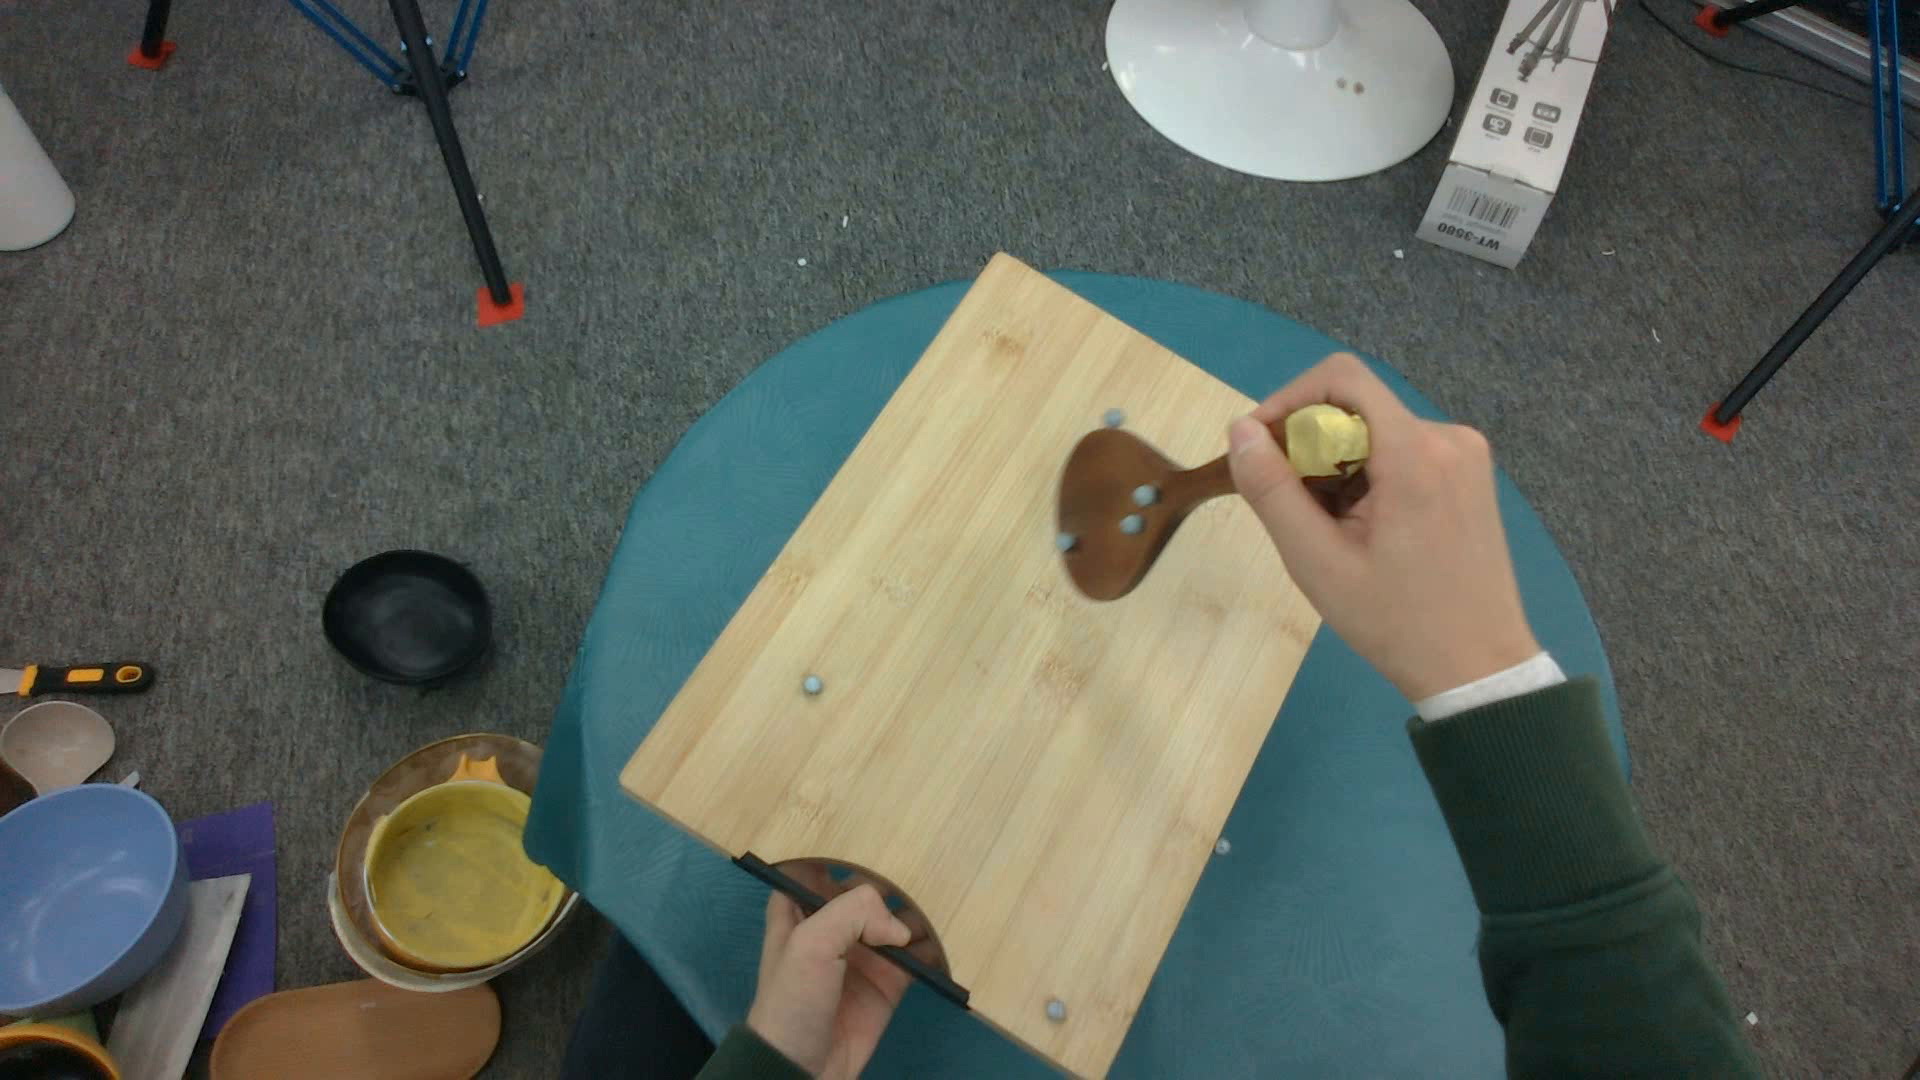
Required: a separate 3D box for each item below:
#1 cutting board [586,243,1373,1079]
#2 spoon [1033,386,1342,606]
[{"bbox_3d":[0.029,0.038,0.657,0.251,0.023,0.350,30,64,3],"label":"cutting board"},{"bbox_3d":[0.076,-0.020,0.523,0.017,0.215,0.075,1,80,-20],"label":"spoon"}]
